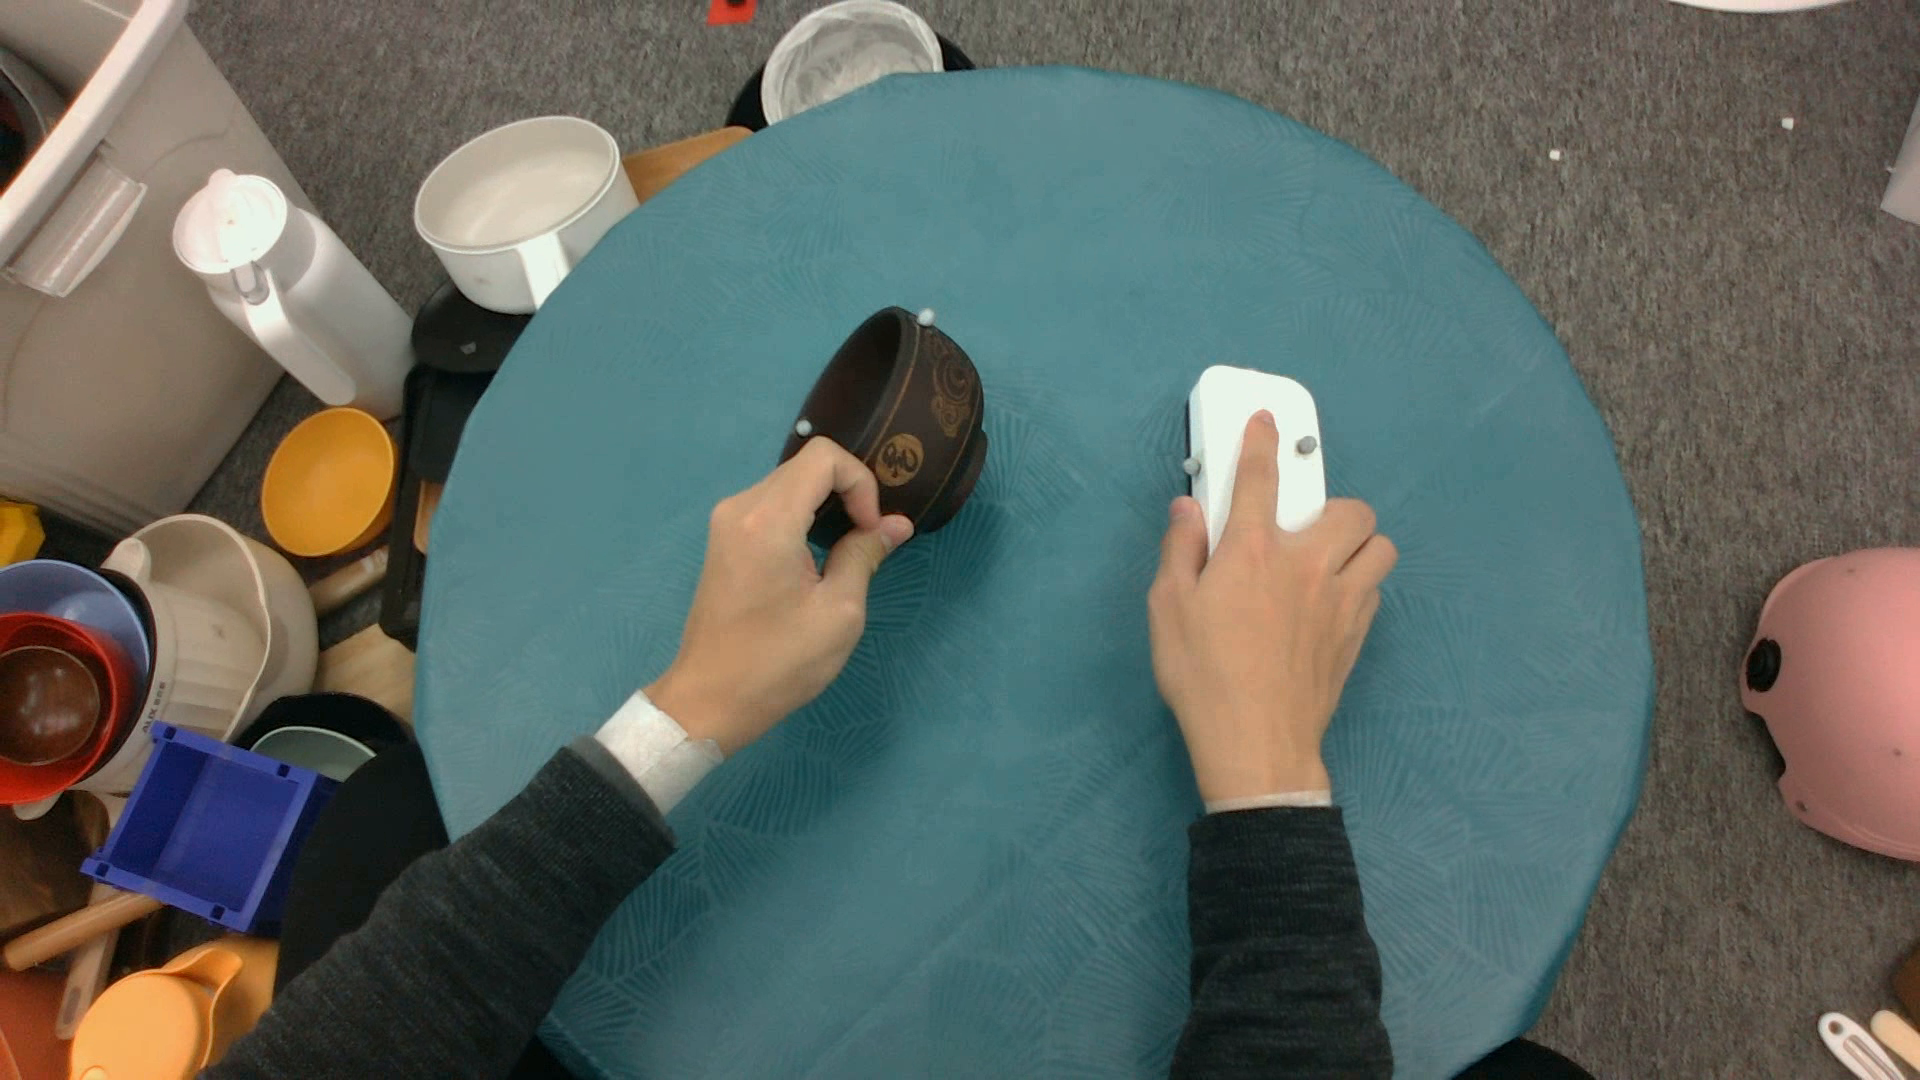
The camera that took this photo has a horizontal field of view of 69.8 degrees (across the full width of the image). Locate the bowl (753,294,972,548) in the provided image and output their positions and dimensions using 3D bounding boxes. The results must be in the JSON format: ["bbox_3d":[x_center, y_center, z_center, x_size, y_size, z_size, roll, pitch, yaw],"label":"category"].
[{"bbox_3d":[-0.038,-0.049,0.649,0.070,0.117,0.118,28,68,-24],"label":"bowl"}]

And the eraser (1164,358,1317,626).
[{"bbox_3d":[0.129,-0.024,0.646,0.063,0.034,0.132,8,63,-18],"label":"eraser"}]
